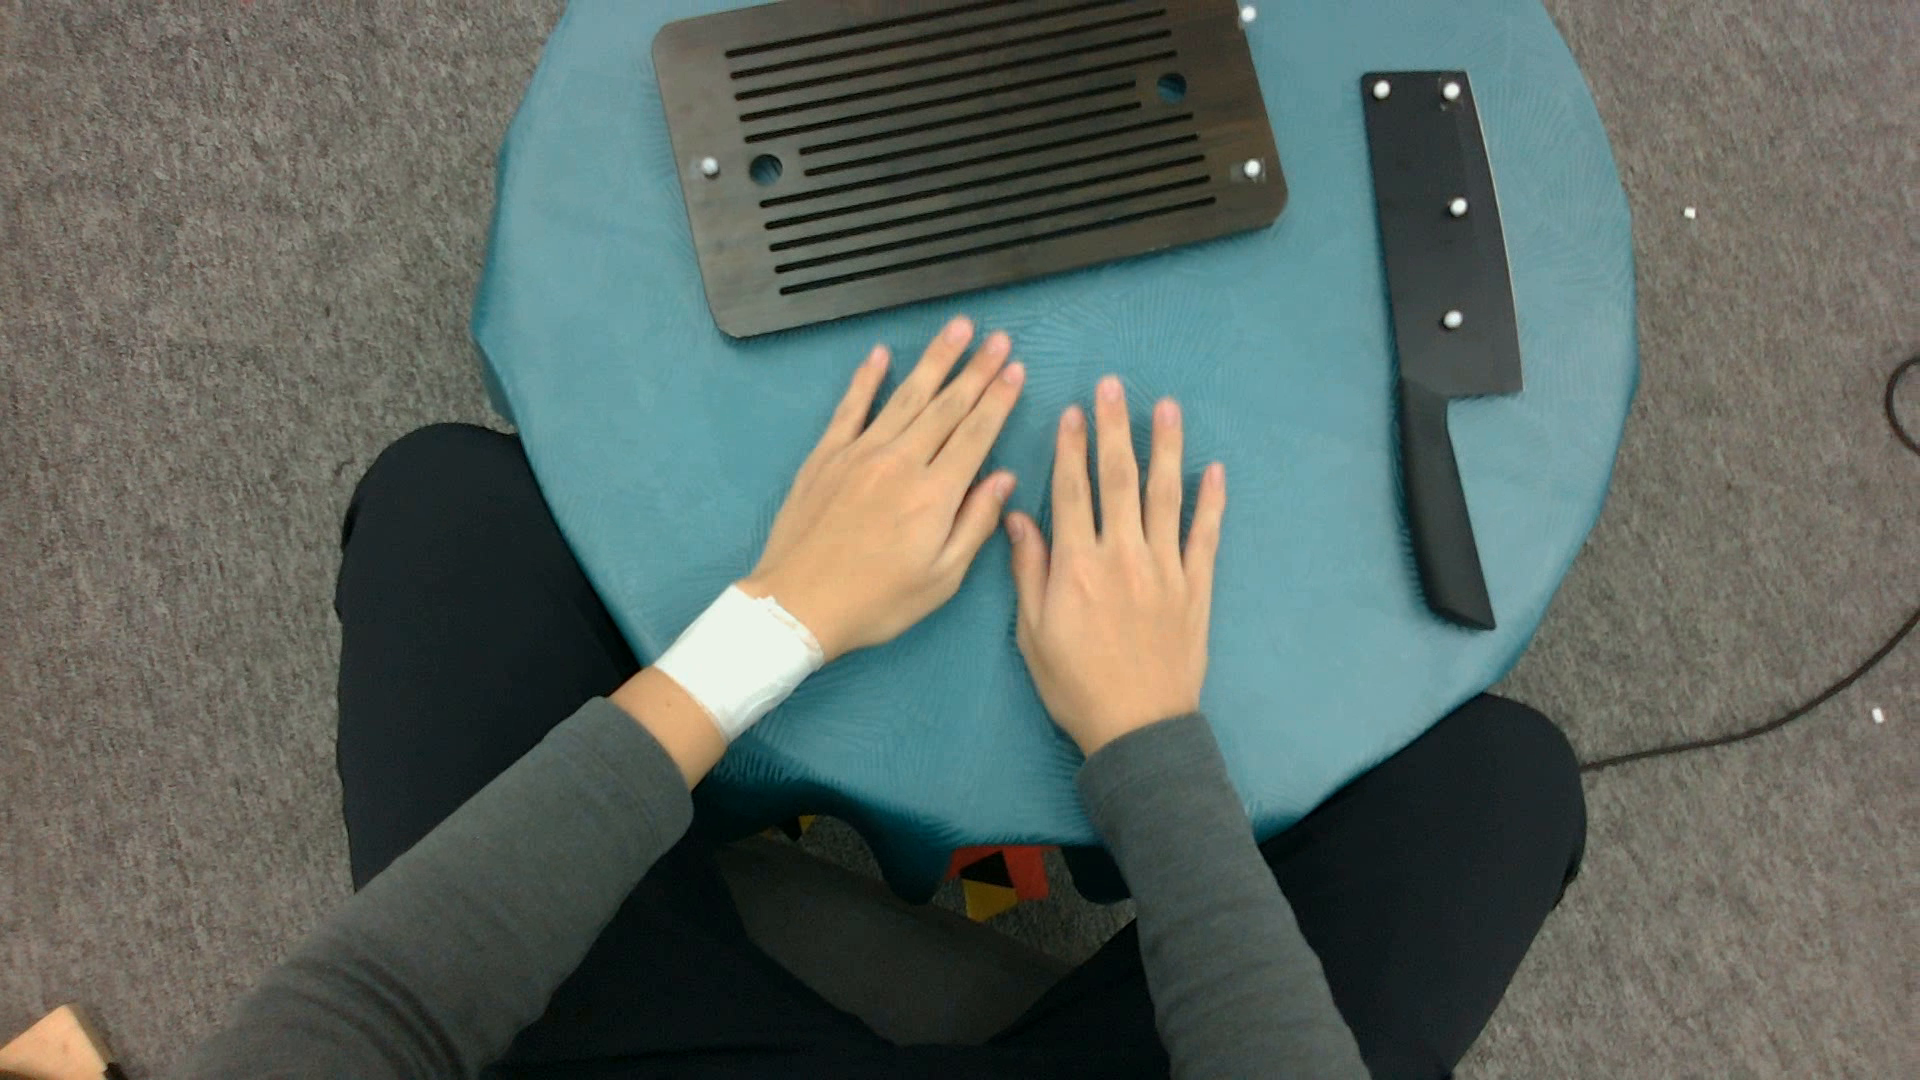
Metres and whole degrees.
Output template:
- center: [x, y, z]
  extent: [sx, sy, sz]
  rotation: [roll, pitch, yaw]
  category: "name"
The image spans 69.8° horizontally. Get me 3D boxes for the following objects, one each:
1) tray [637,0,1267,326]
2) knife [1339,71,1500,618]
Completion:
- center: [-0.003, -0.220, 0.721]
  extent: [0.306, 0.018, 0.170]
  rotation: [-13, 82, -6]
  category: "tray"
- center: [0.246, -0.109, 0.724]
  extent: [0.081, 0.021, 0.303]
  rotation: [1, 79, -6]
  category: "knife"
